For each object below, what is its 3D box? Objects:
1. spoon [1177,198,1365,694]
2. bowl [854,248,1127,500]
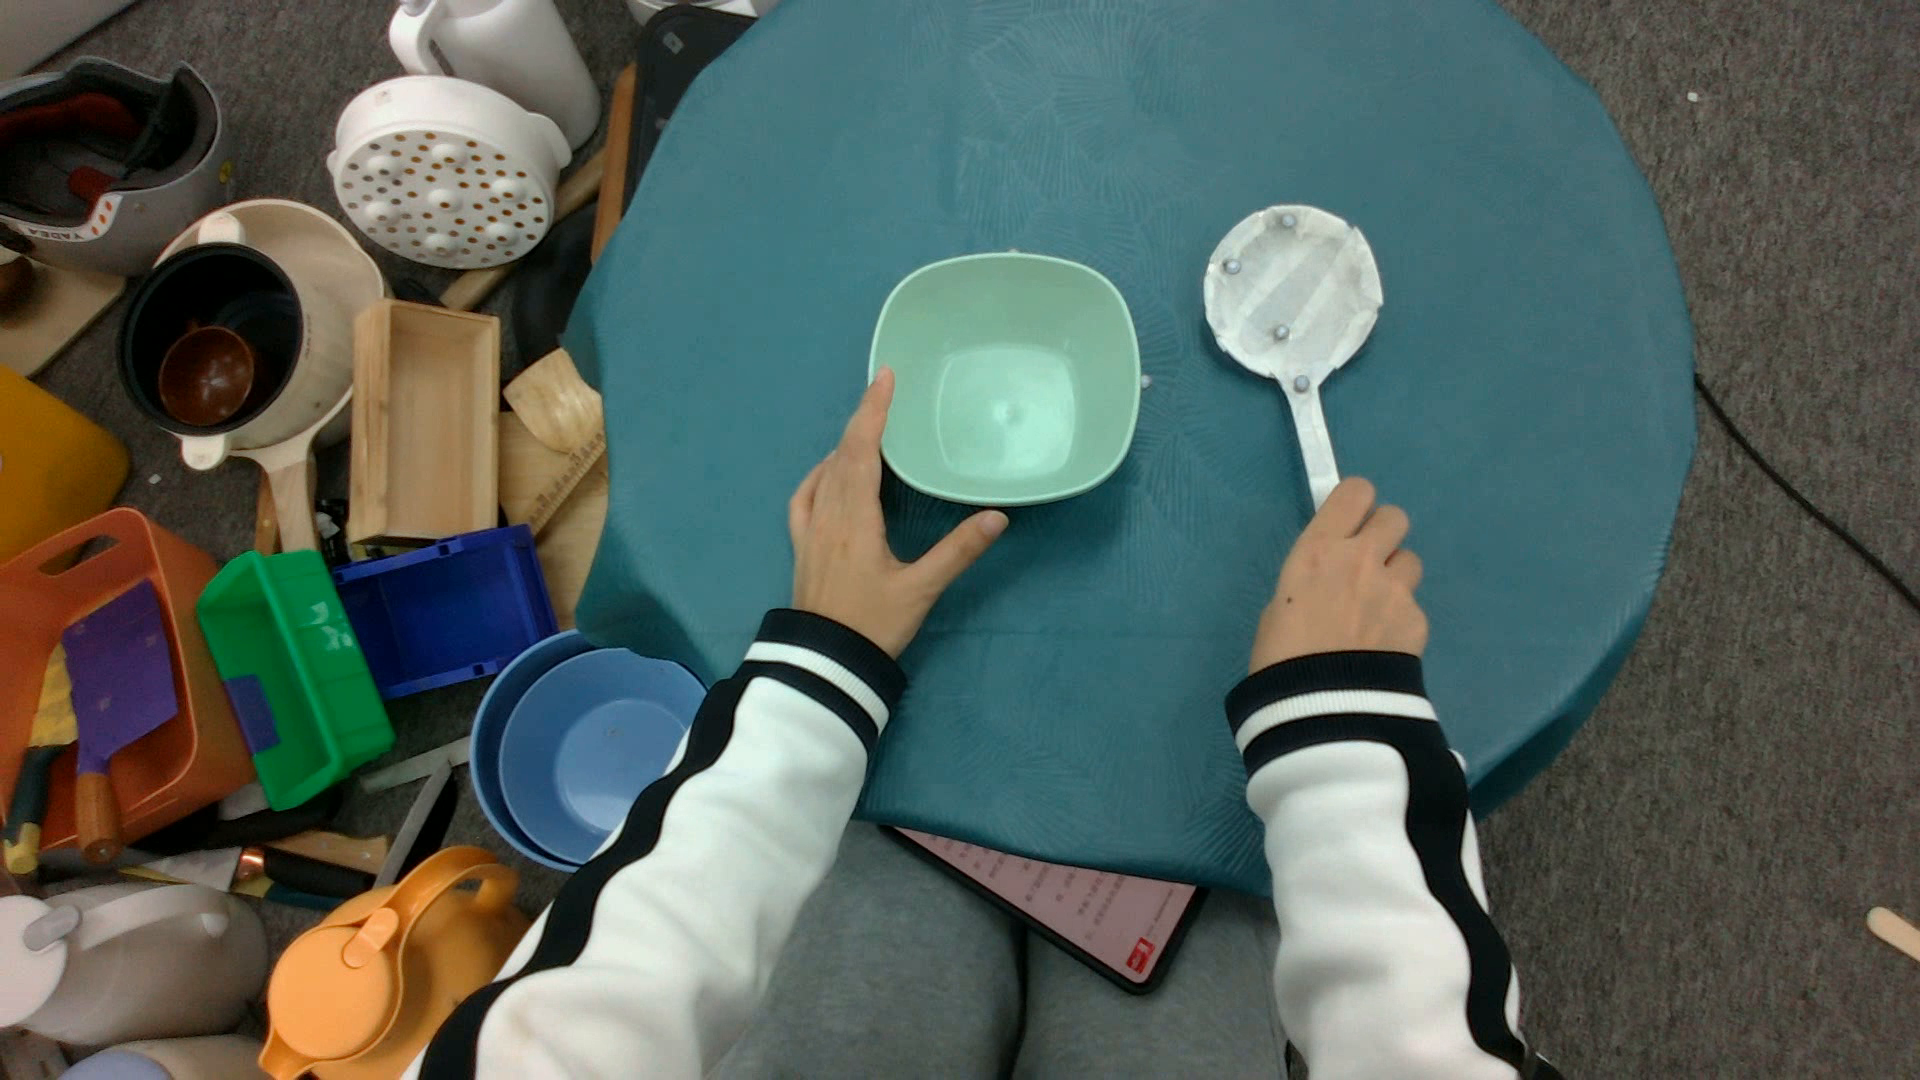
[{"bbox_3d":[0.165,-0.057,0.682,0.100,0.059,0.278,-4,53,7],"label":"spoon"},{"bbox_3d":[0.016,-0.079,0.725,0.151,0.058,0.152,-1,72,2],"label":"bowl"}]
